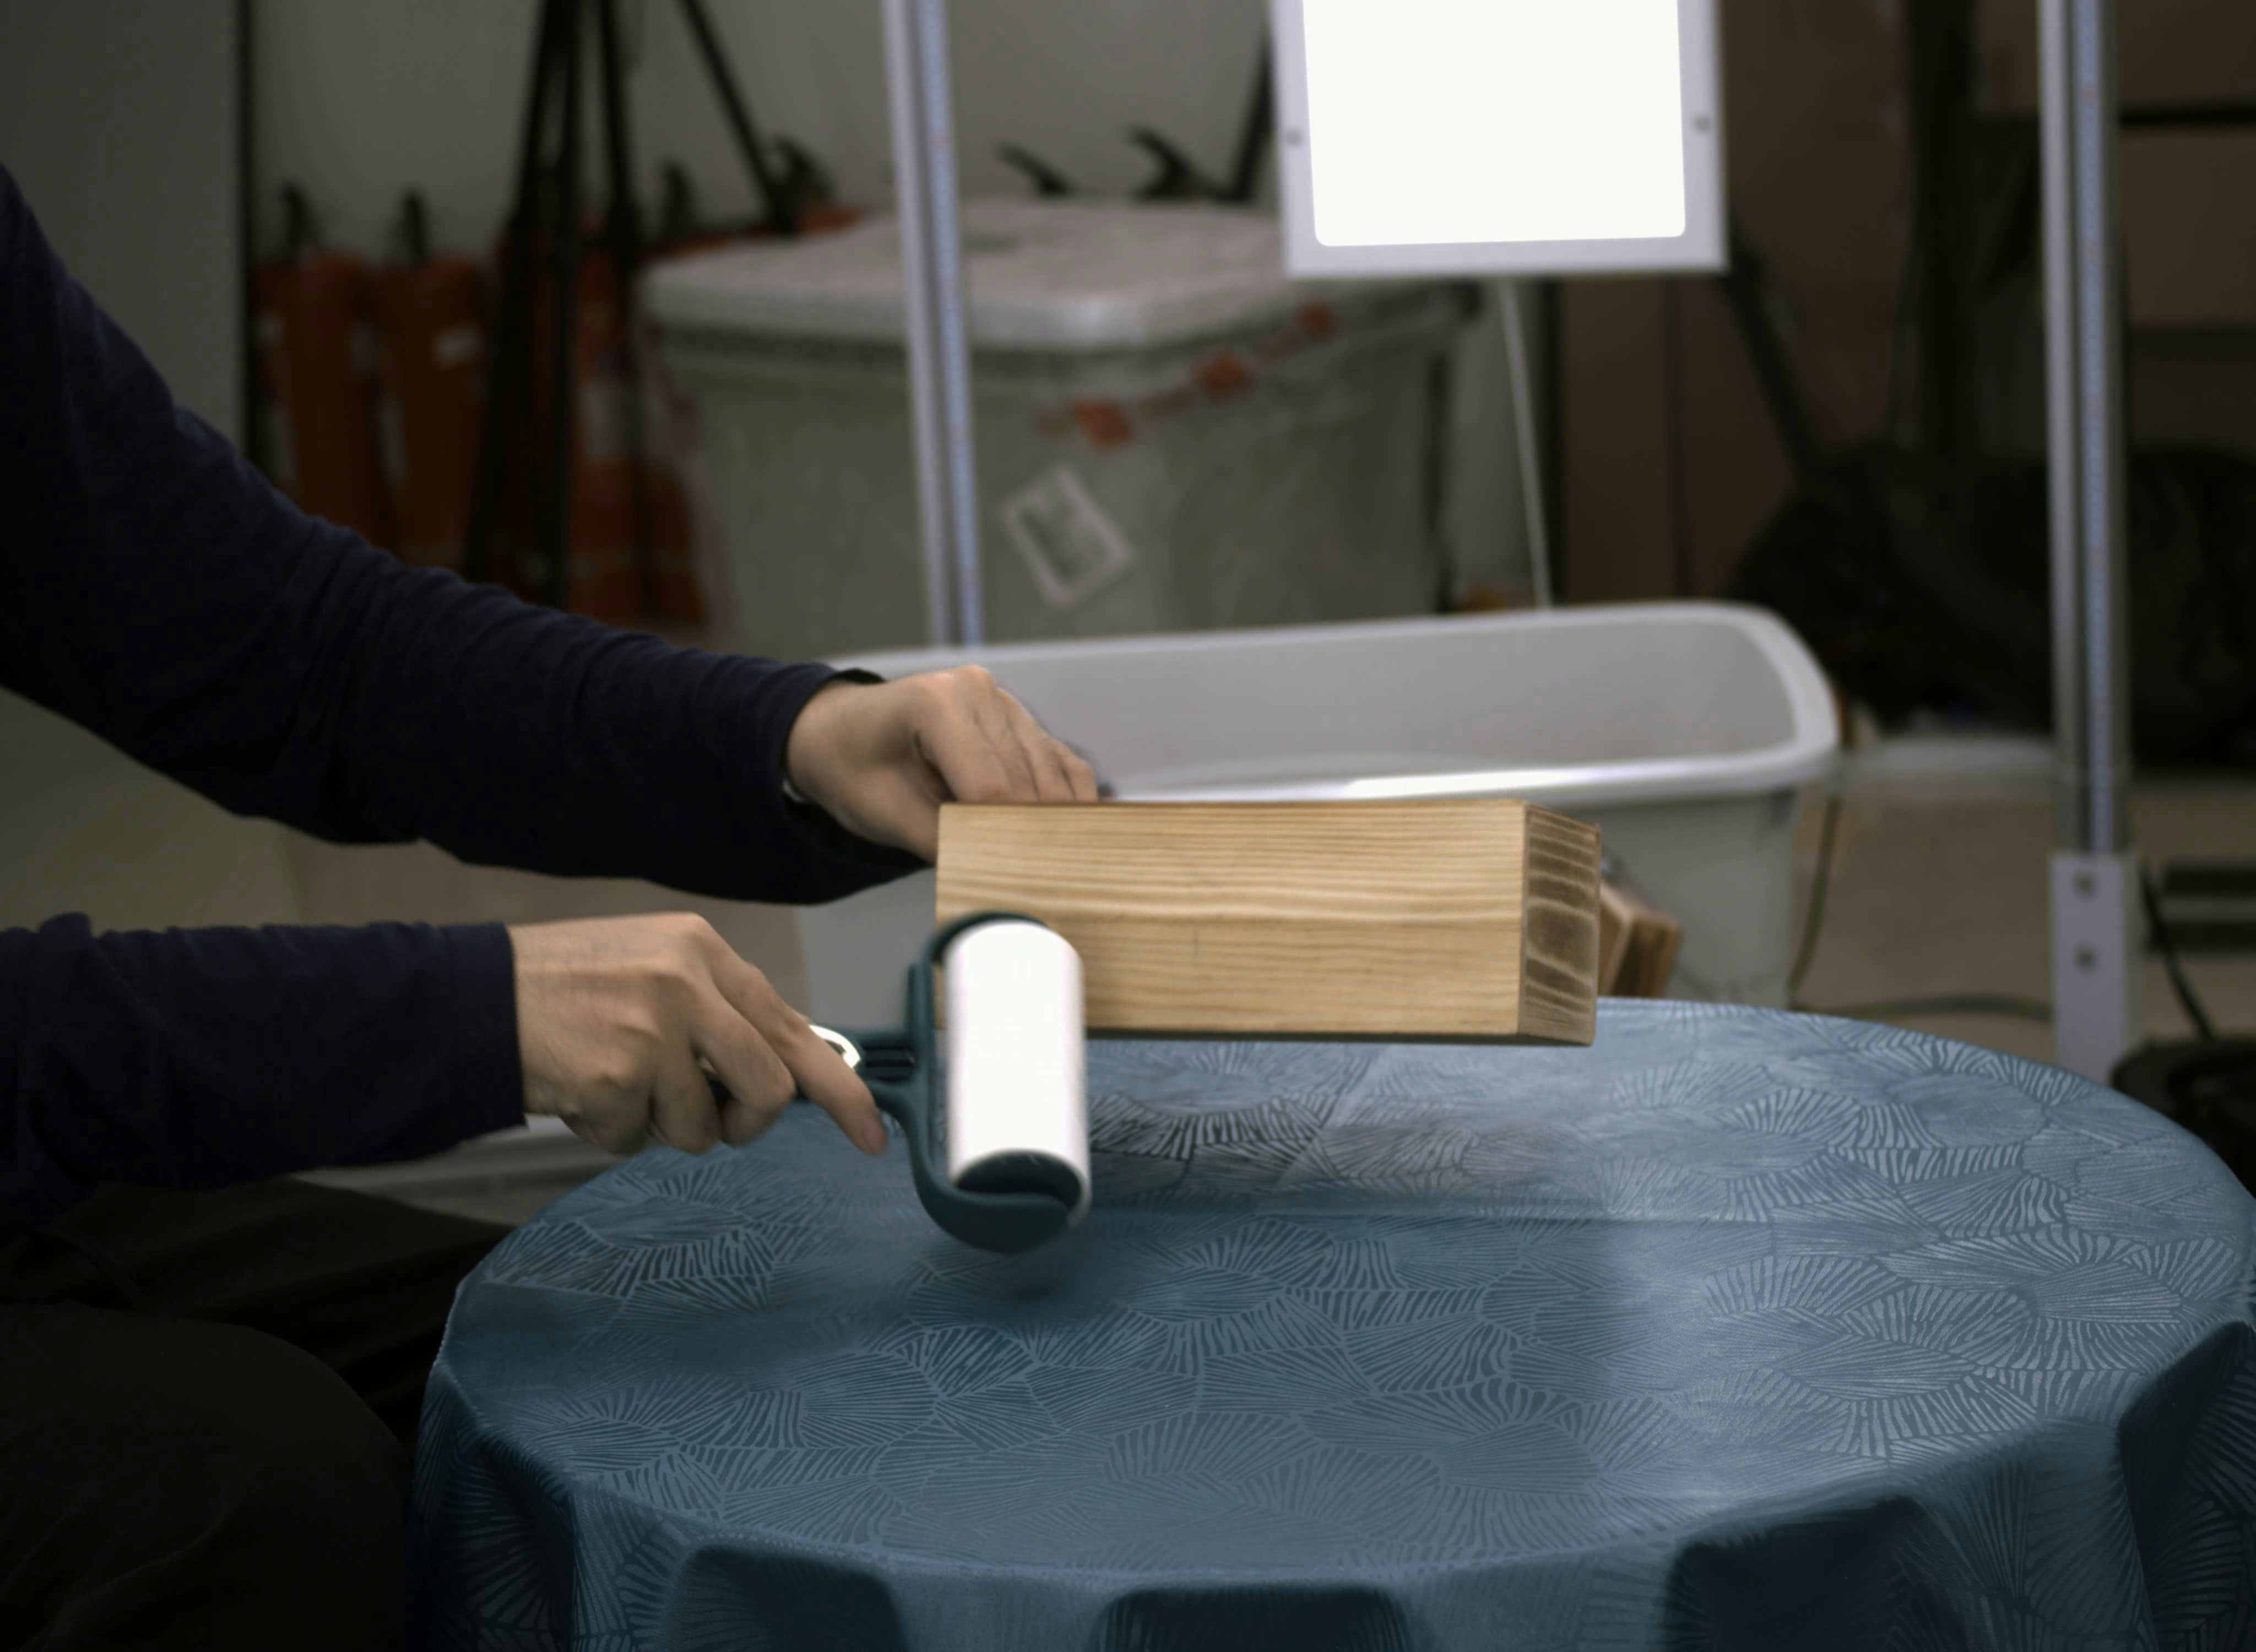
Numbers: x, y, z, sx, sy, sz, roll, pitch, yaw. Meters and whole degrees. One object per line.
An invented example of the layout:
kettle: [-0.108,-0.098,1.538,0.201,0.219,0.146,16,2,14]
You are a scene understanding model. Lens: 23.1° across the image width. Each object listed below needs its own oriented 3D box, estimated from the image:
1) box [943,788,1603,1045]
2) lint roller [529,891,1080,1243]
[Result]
box: [0.052,0.034,1.920,0.214,0.080,0.106,-2,-5,20]
lint roller: [-0.107,0.073,1.827,0.178,0.049,0.134,6,47,-10]
